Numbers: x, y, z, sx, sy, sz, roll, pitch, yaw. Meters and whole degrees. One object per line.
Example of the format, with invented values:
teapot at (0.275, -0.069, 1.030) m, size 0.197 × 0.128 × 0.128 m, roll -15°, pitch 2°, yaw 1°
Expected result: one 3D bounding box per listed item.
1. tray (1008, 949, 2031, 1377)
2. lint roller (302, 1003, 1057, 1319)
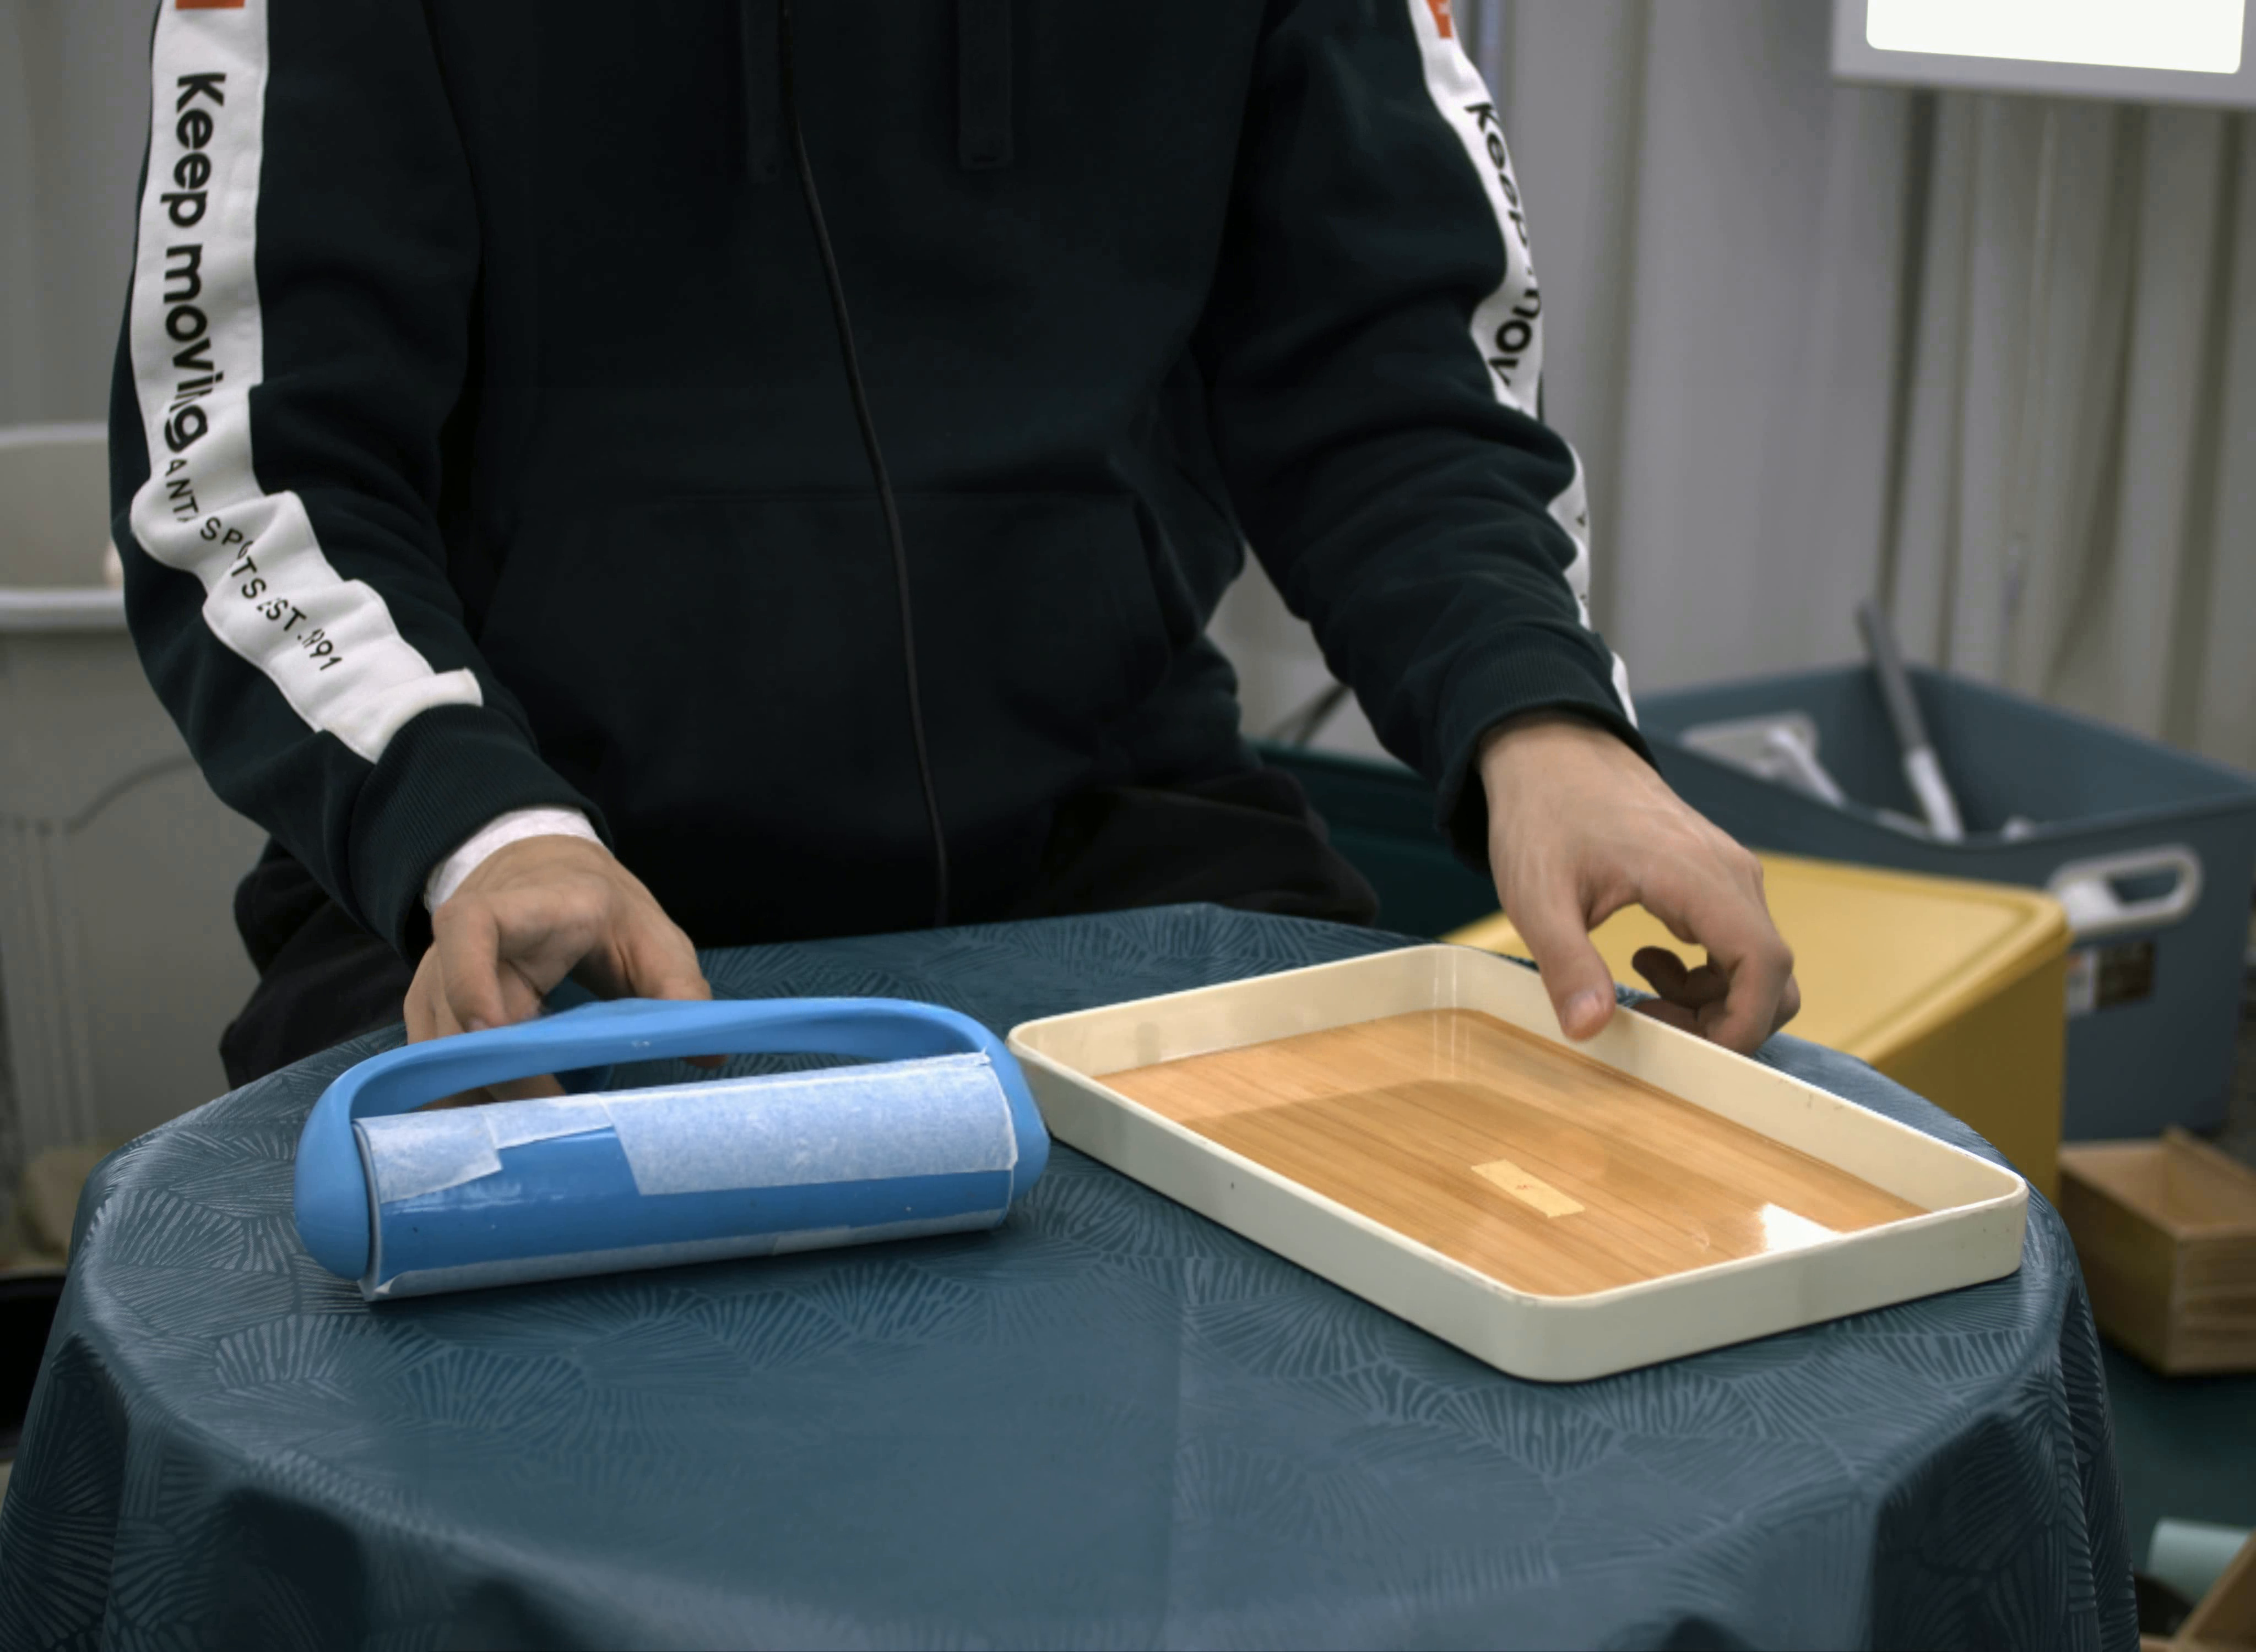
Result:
tray at (0.114, 0.098, 1.623) m, size 0.192 × 0.027 × 0.296 m, roll -9°, pitch 18°, yaw -32°
lint roller at (-0.153, 0.088, 1.599) m, size 0.229 × 0.068 × 0.178 m, roll -9°, pitch 19°, yaw -23°
